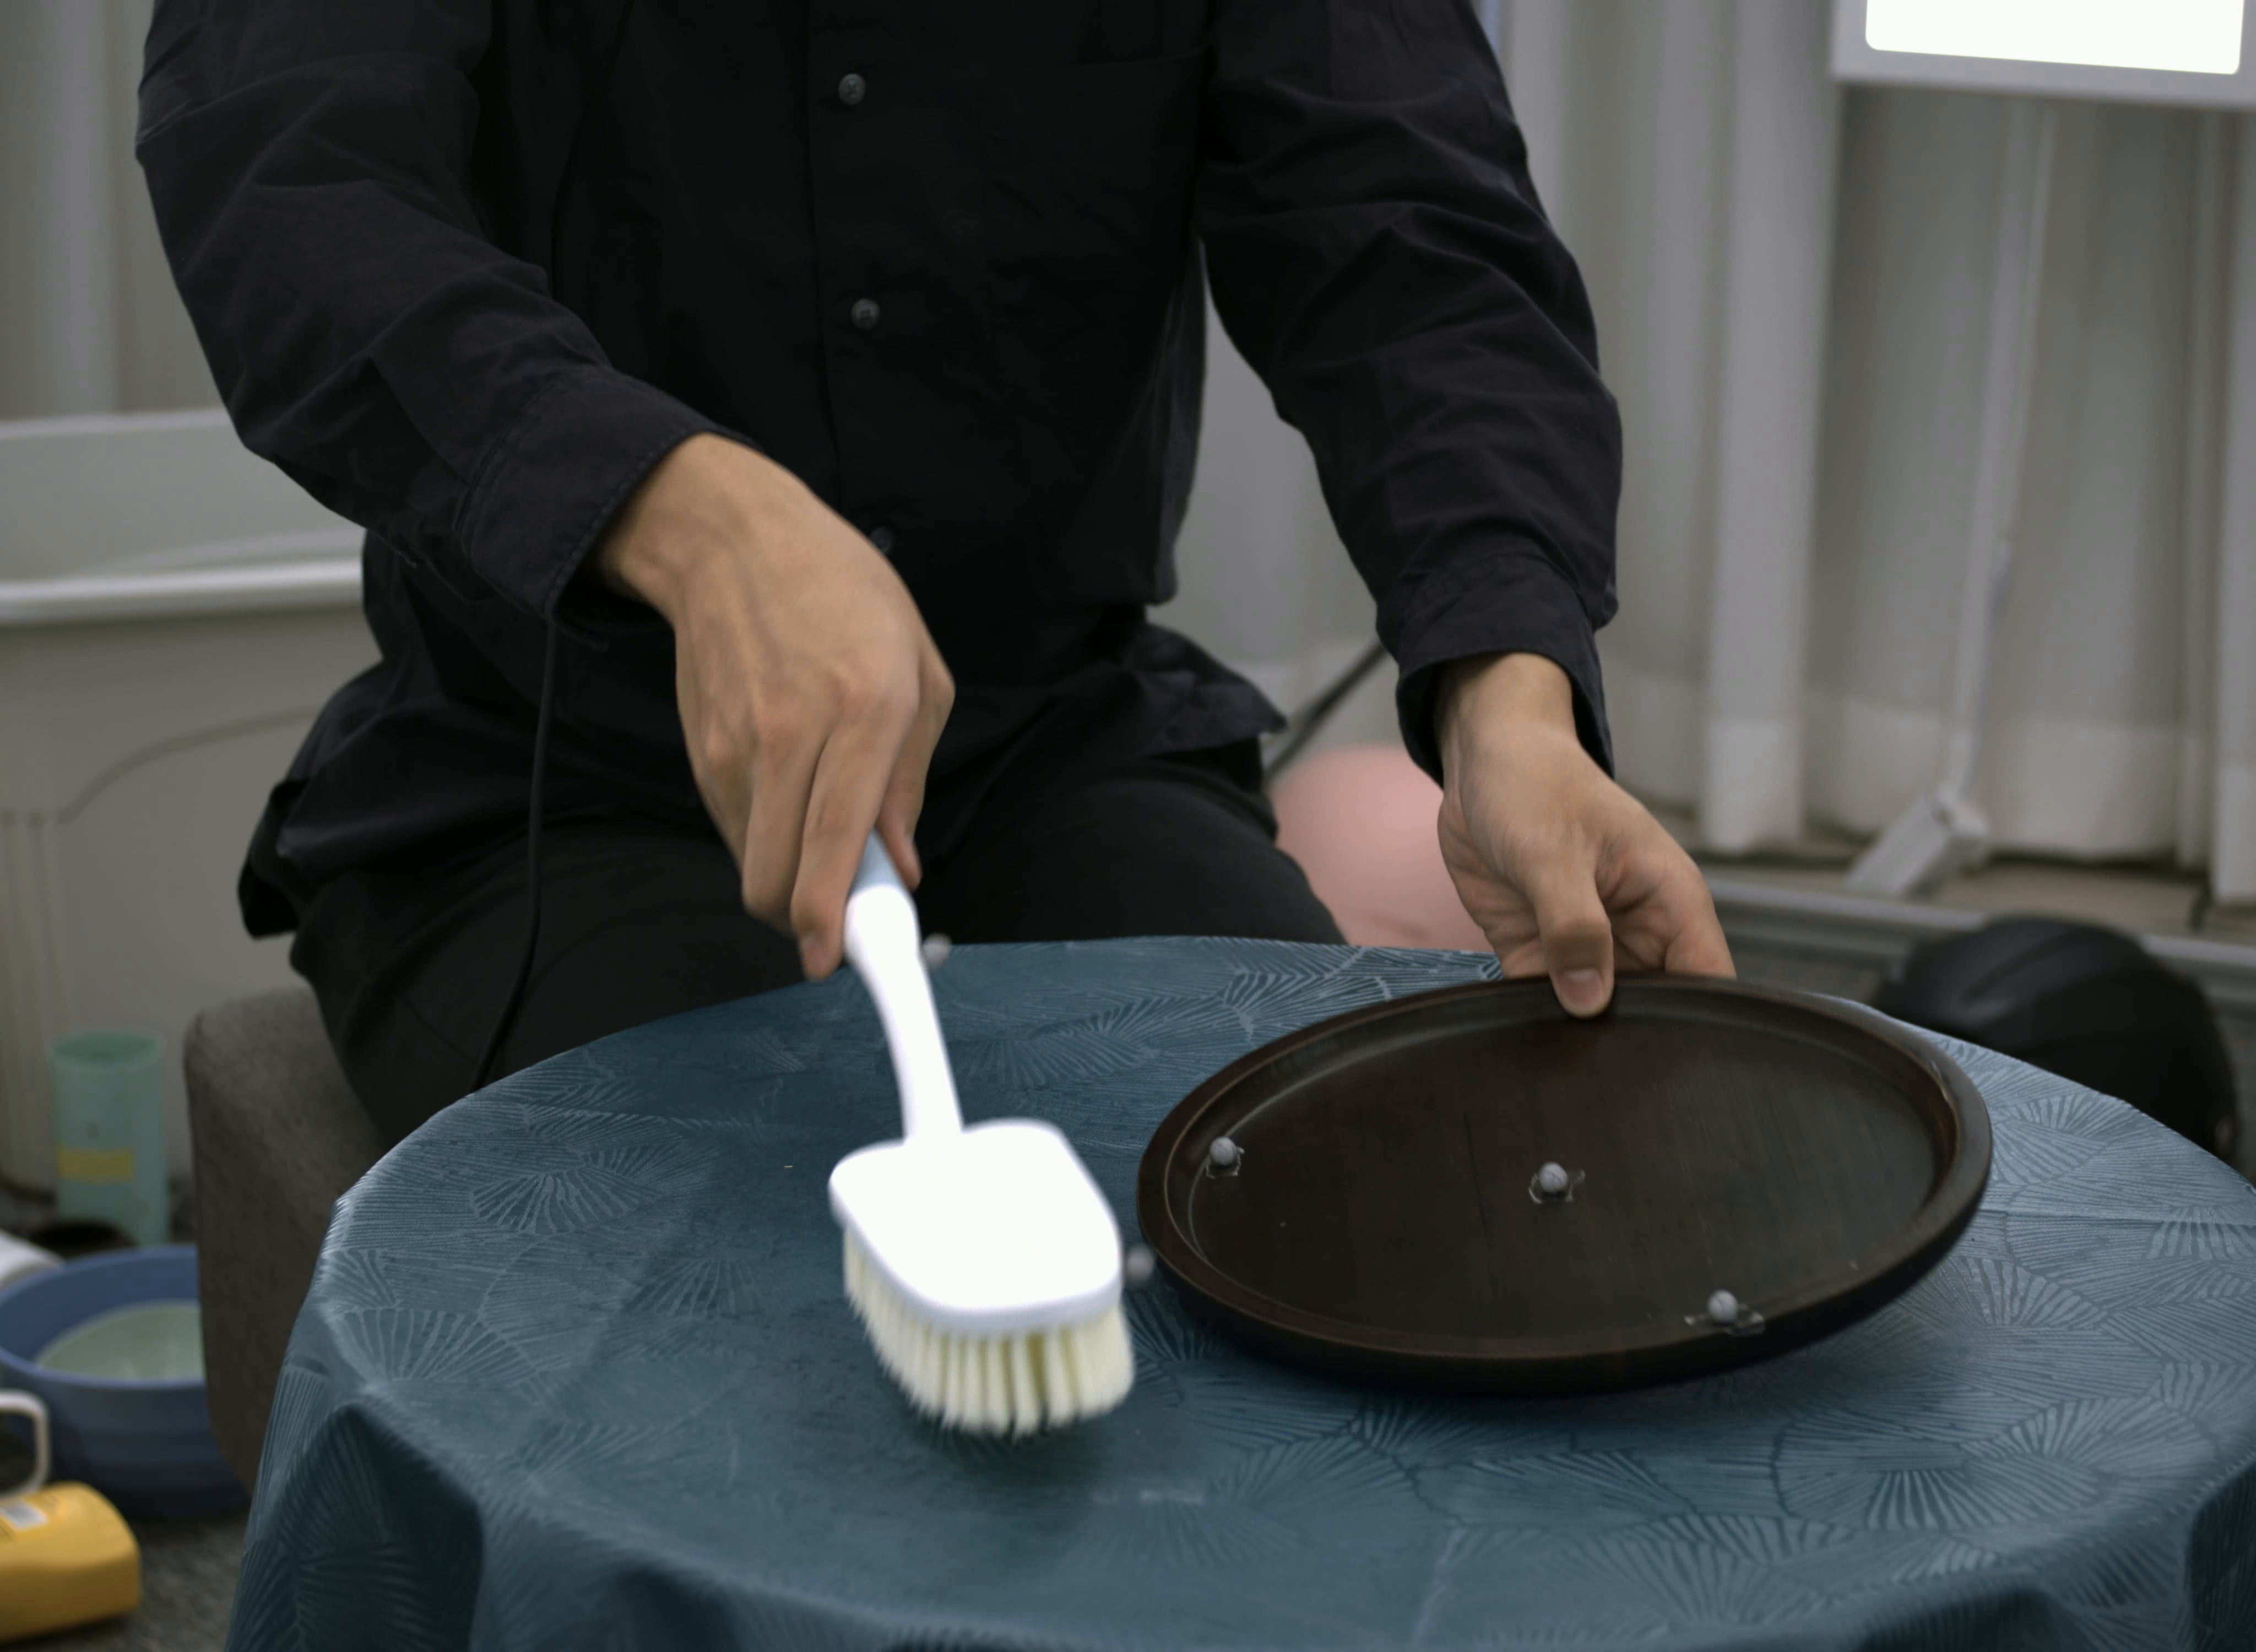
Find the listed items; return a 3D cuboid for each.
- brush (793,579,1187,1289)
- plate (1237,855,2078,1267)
[{"bbox_3d":[-0.046,0.040,1.551,0.084,0.085,0.321,26,20,-32],"label":"brush"},{"bbox_3d":[0.159,0.068,1.588,0.254,0.029,0.253,-6,22,3],"label":"plate"}]
